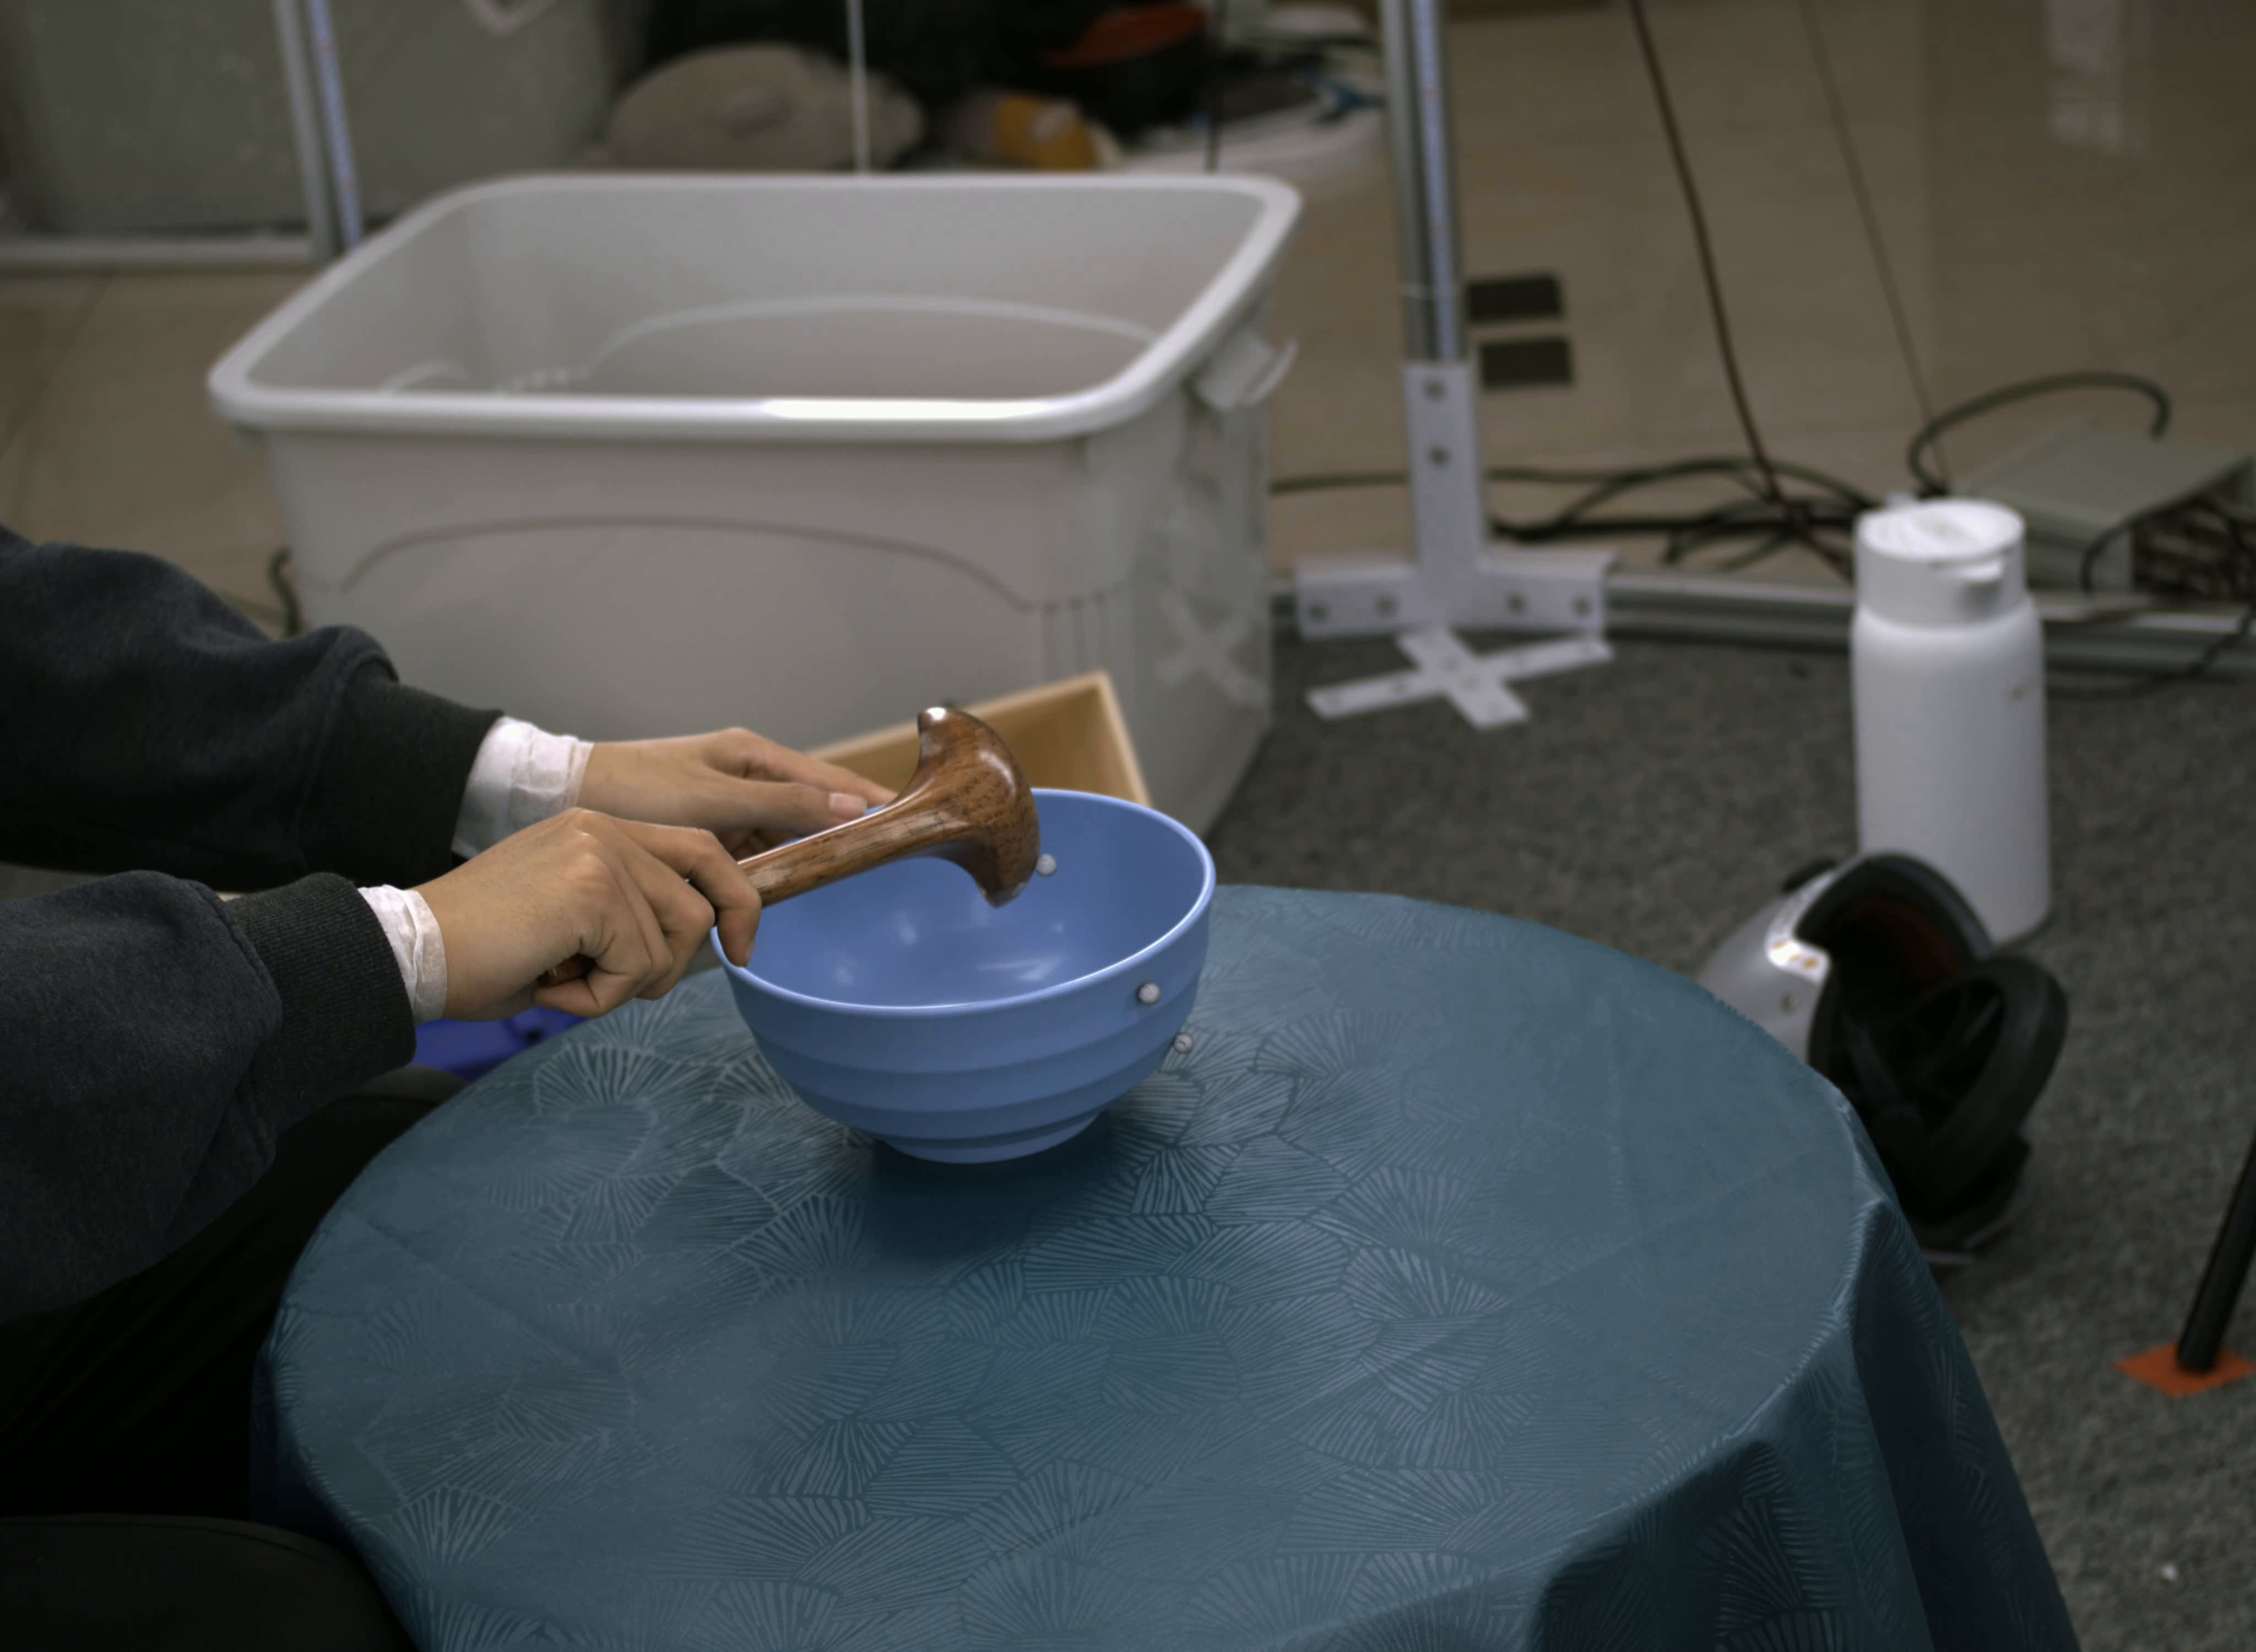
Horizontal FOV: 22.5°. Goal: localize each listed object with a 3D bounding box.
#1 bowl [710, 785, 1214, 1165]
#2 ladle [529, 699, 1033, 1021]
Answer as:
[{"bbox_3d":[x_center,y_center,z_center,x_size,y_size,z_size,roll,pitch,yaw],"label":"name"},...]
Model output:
[{"bbox_3d":[-0.059,0.069,2.199,0.196,0.097,0.193,-6,26,3],"label":"bowl"},{"bbox_3d":[-0.134,0.021,2.083,0.272,0.082,0.077,-25,0,-42],"label":"ladle"}]
